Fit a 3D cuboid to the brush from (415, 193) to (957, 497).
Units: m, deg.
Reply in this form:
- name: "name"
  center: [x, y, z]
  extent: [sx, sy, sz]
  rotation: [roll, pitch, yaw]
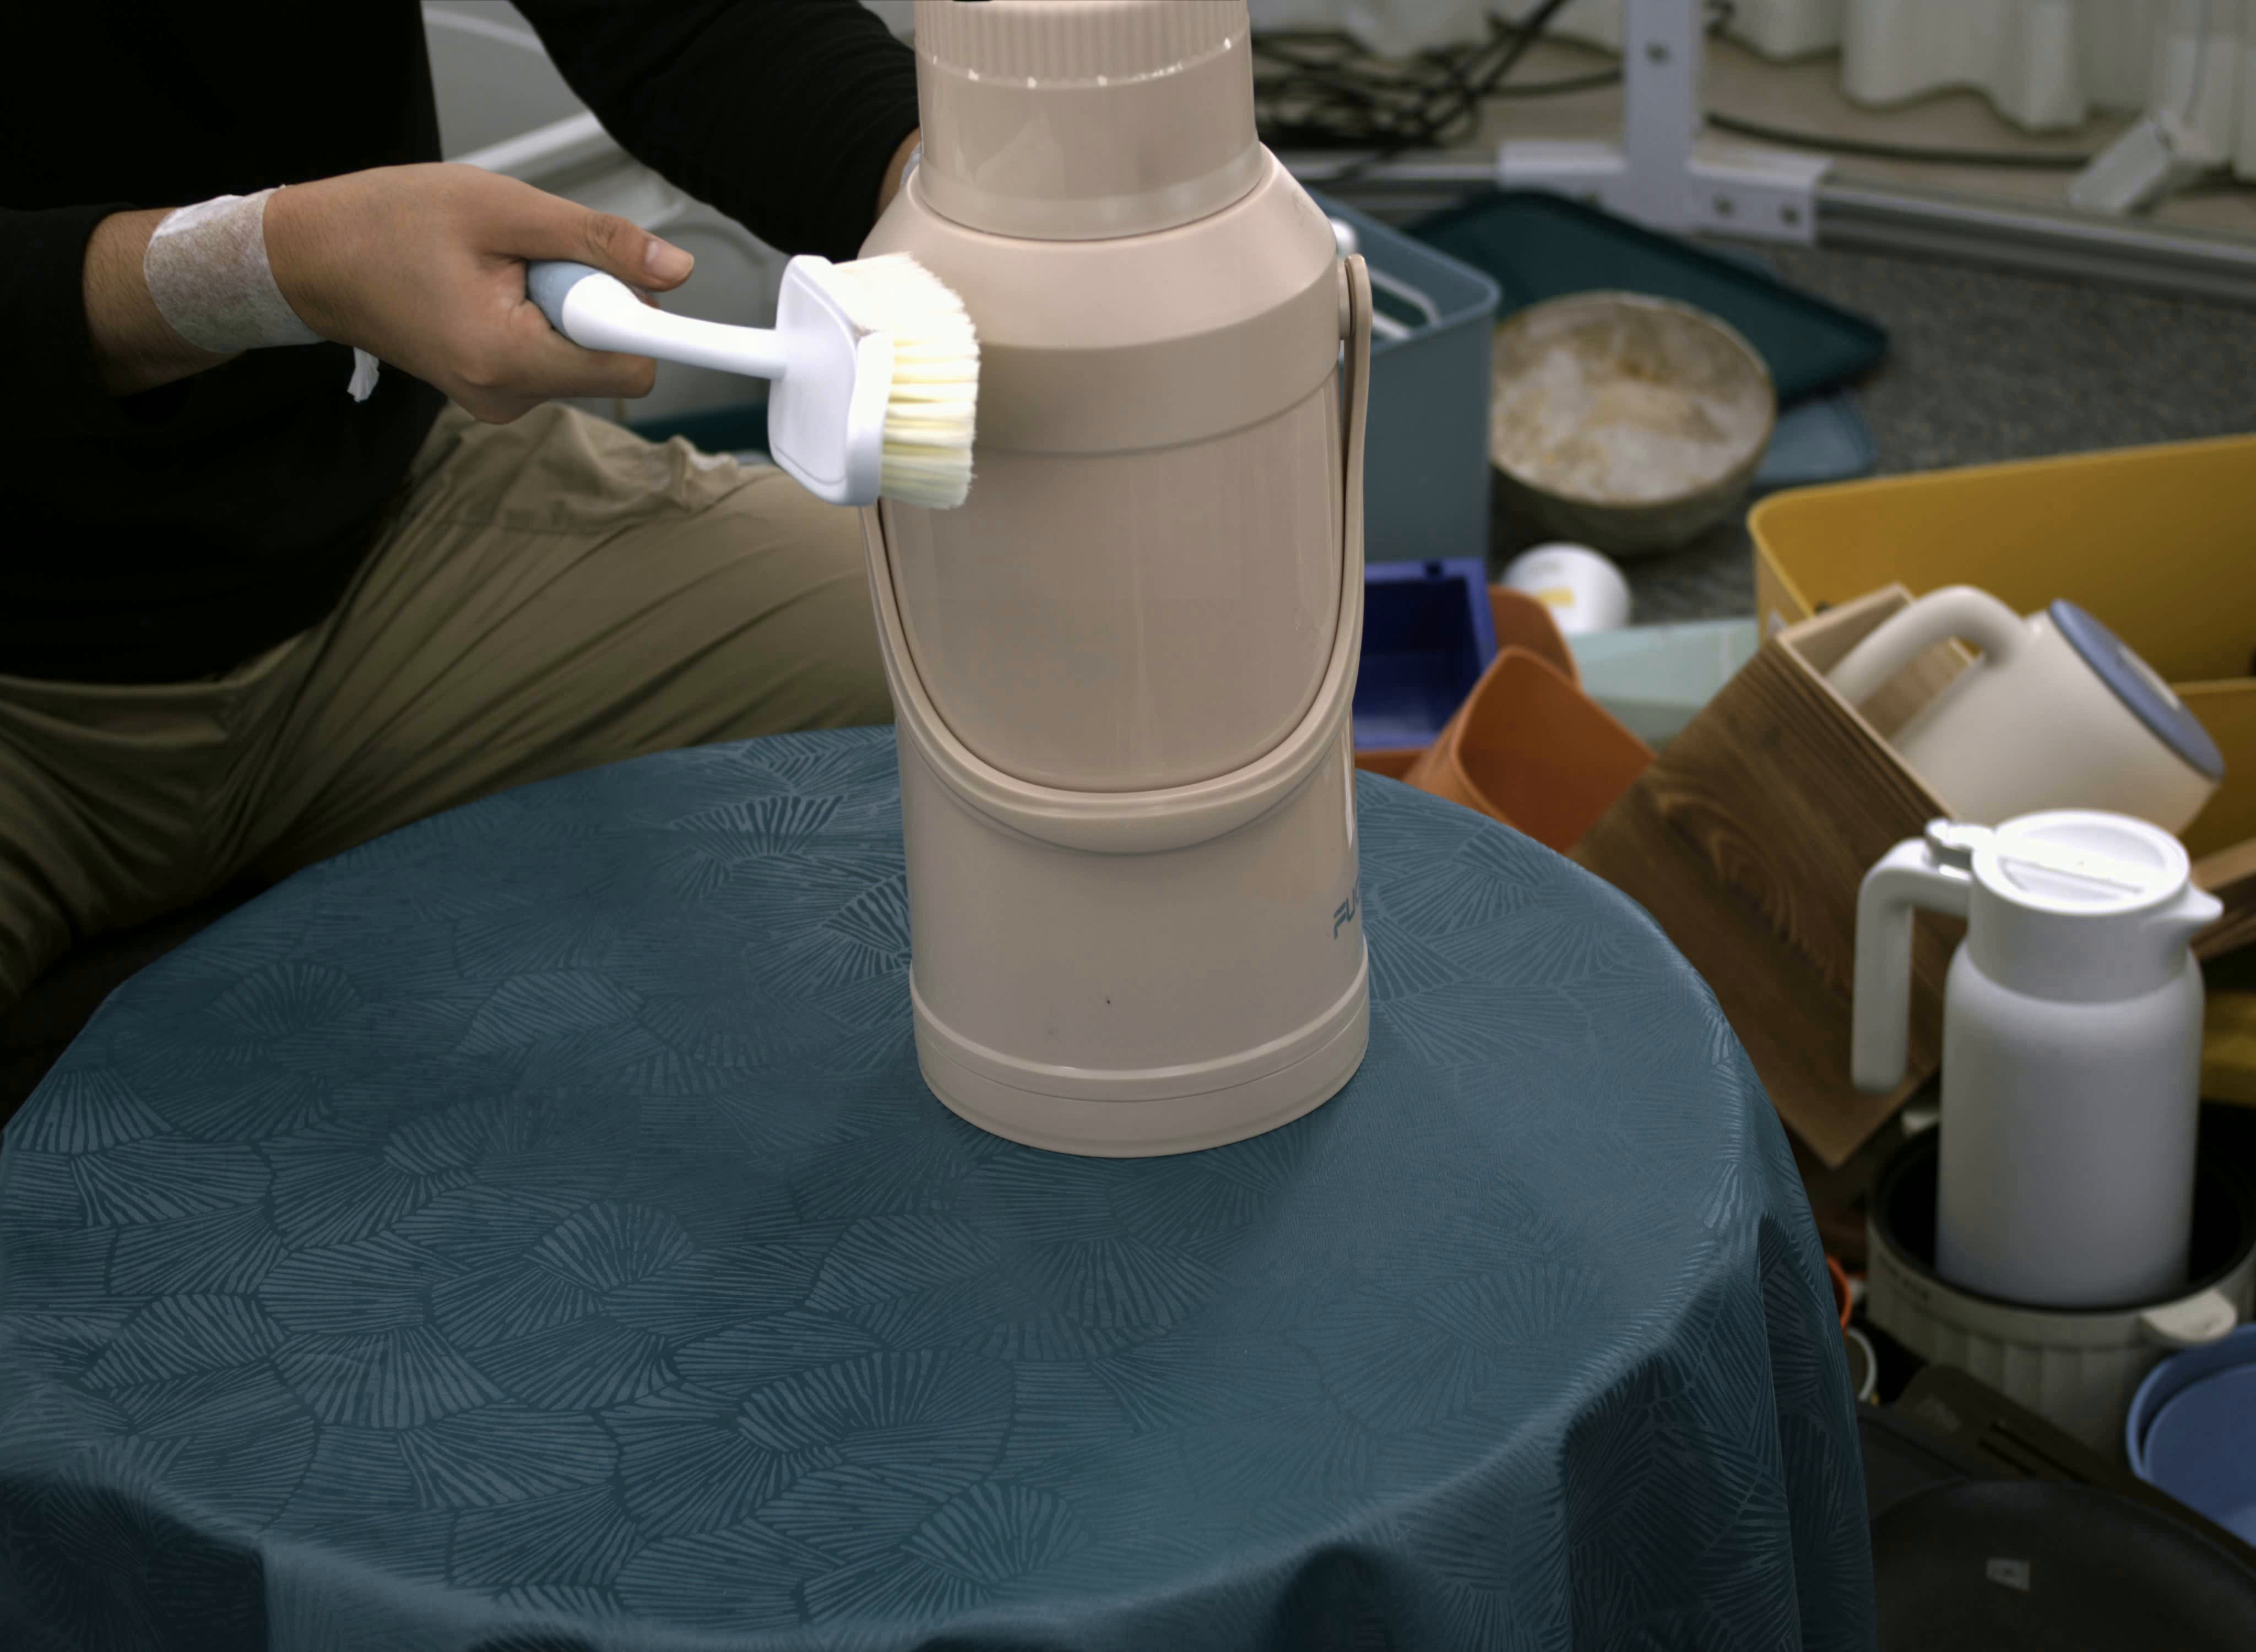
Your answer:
- name: "brush"
  center: [-0.127, -0.168, 1.817]
  extent: [0.083, 0.084, 0.326]
  rotation: [-52, 33, -6]

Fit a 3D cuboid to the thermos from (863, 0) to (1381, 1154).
- name: "thermos"
  center: [-0.003, -0.108, 1.879]
  extent: [0.175, 0.402, 0.210]
  rotation: [-7, 27, -3]
